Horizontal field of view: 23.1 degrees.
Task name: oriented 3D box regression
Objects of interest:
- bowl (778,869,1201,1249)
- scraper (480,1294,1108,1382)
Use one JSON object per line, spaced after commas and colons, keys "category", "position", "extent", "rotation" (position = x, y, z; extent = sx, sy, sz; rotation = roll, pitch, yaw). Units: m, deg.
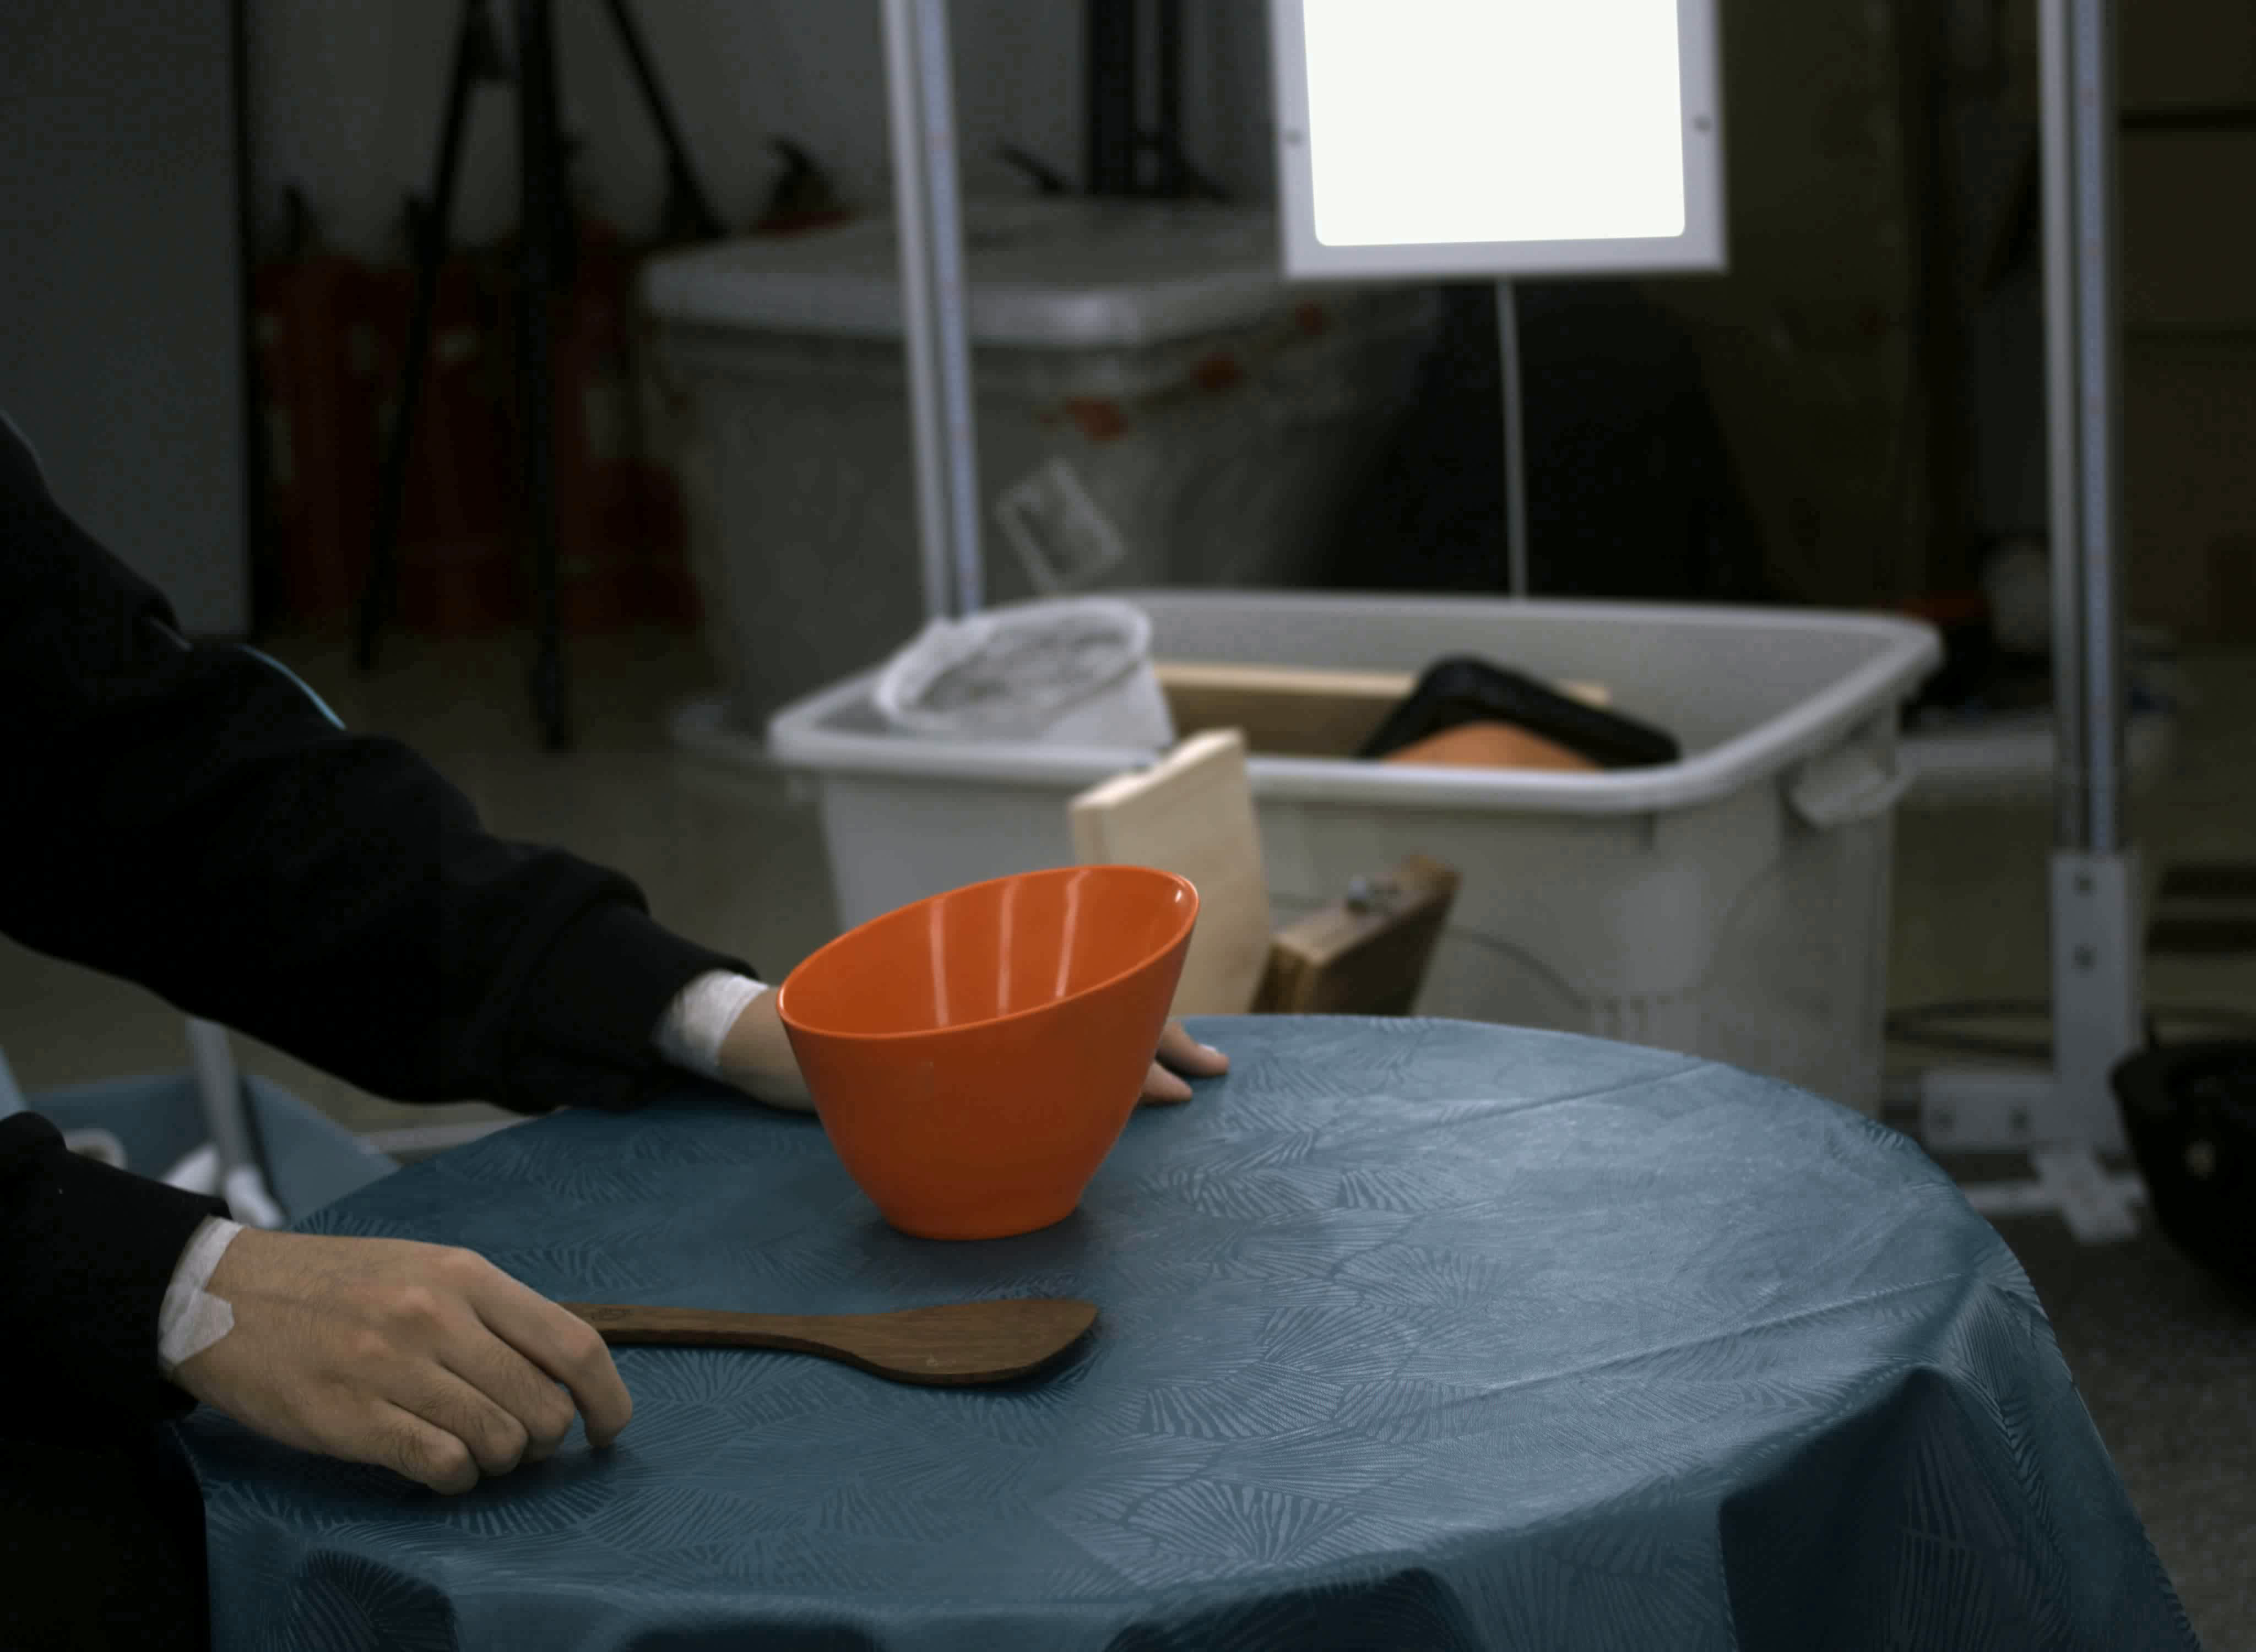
{"category": "bowl", "position": [-0.043, 0.083, 1.883], "extent": [0.148, 0.105, 0.148], "rotation": [-6, 15, 0]}
{"category": "scraper", "position": [-0.111, 0.162, 1.774], "extent": [0.214, 0.011, 0.074], "rotation": [0, 13, 22]}
